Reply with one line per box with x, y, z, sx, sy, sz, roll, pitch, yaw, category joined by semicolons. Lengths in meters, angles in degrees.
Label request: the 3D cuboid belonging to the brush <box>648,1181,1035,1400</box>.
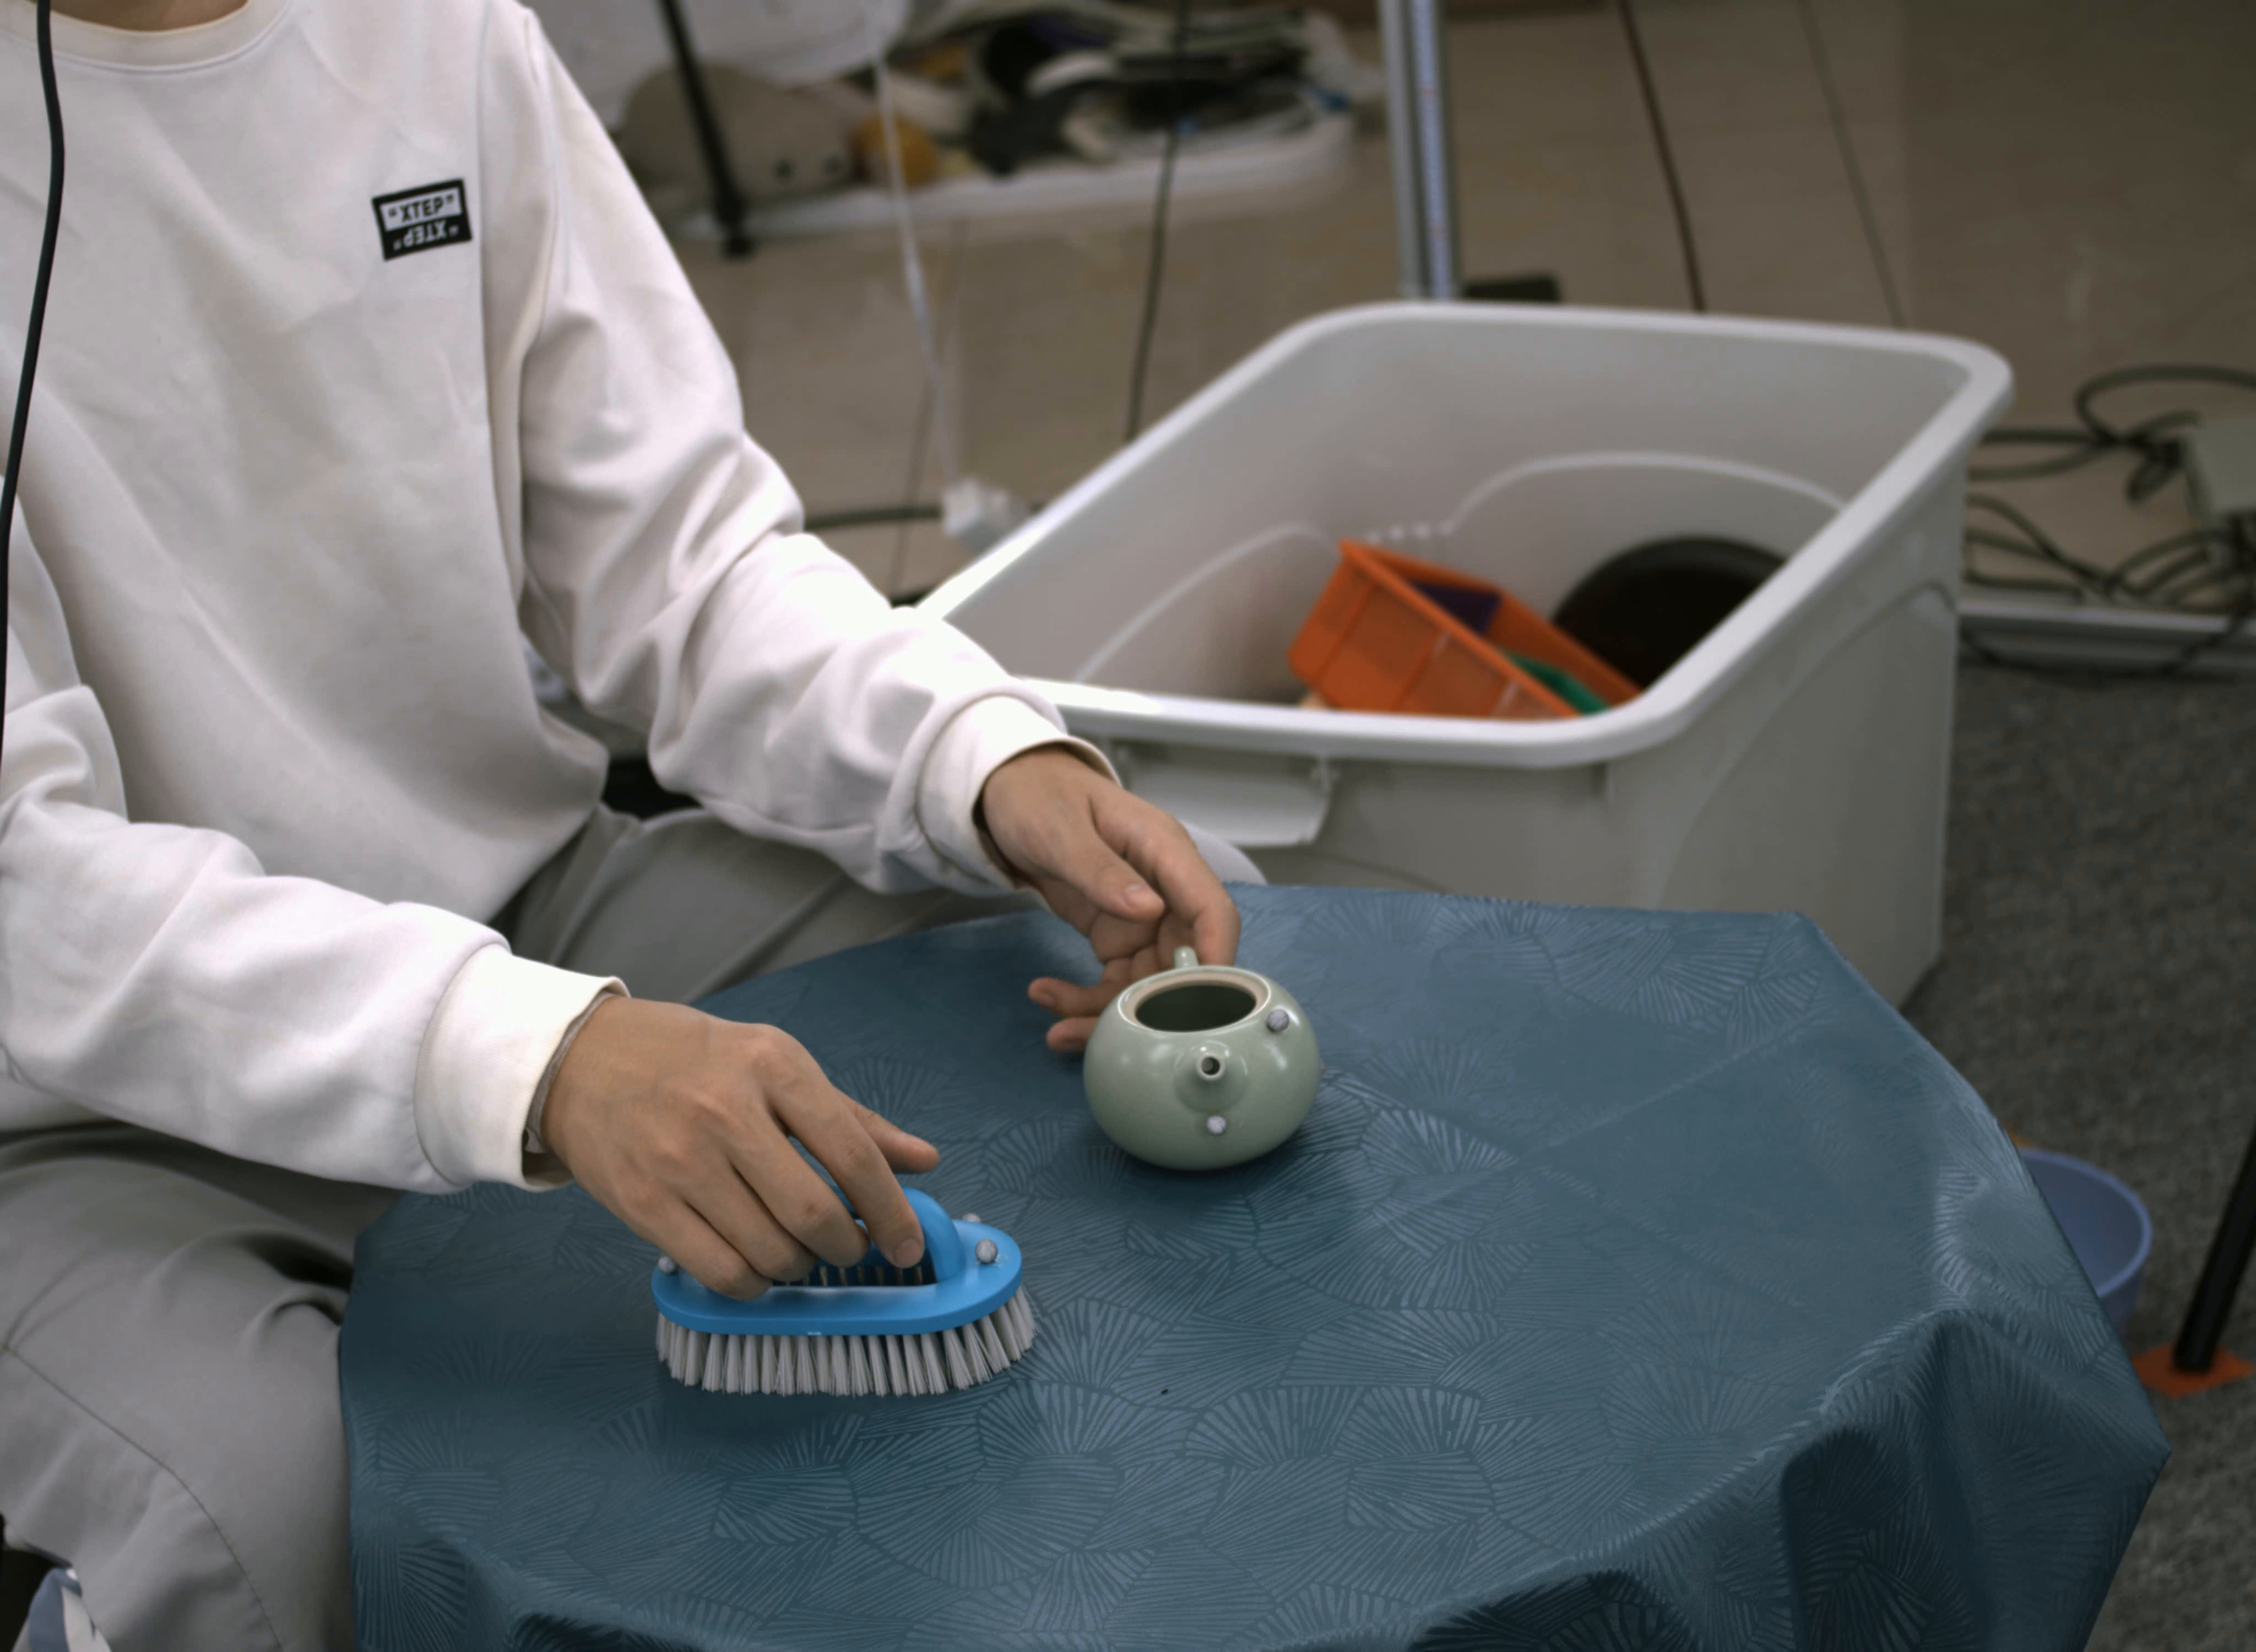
-0.107;0.159;2.052;0.141;0.065;0.083;-1;31;15;brush

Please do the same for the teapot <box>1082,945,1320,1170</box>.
0.028;0.089;2.177;0.091;0.062;0.126;-8;23;3;teapot
